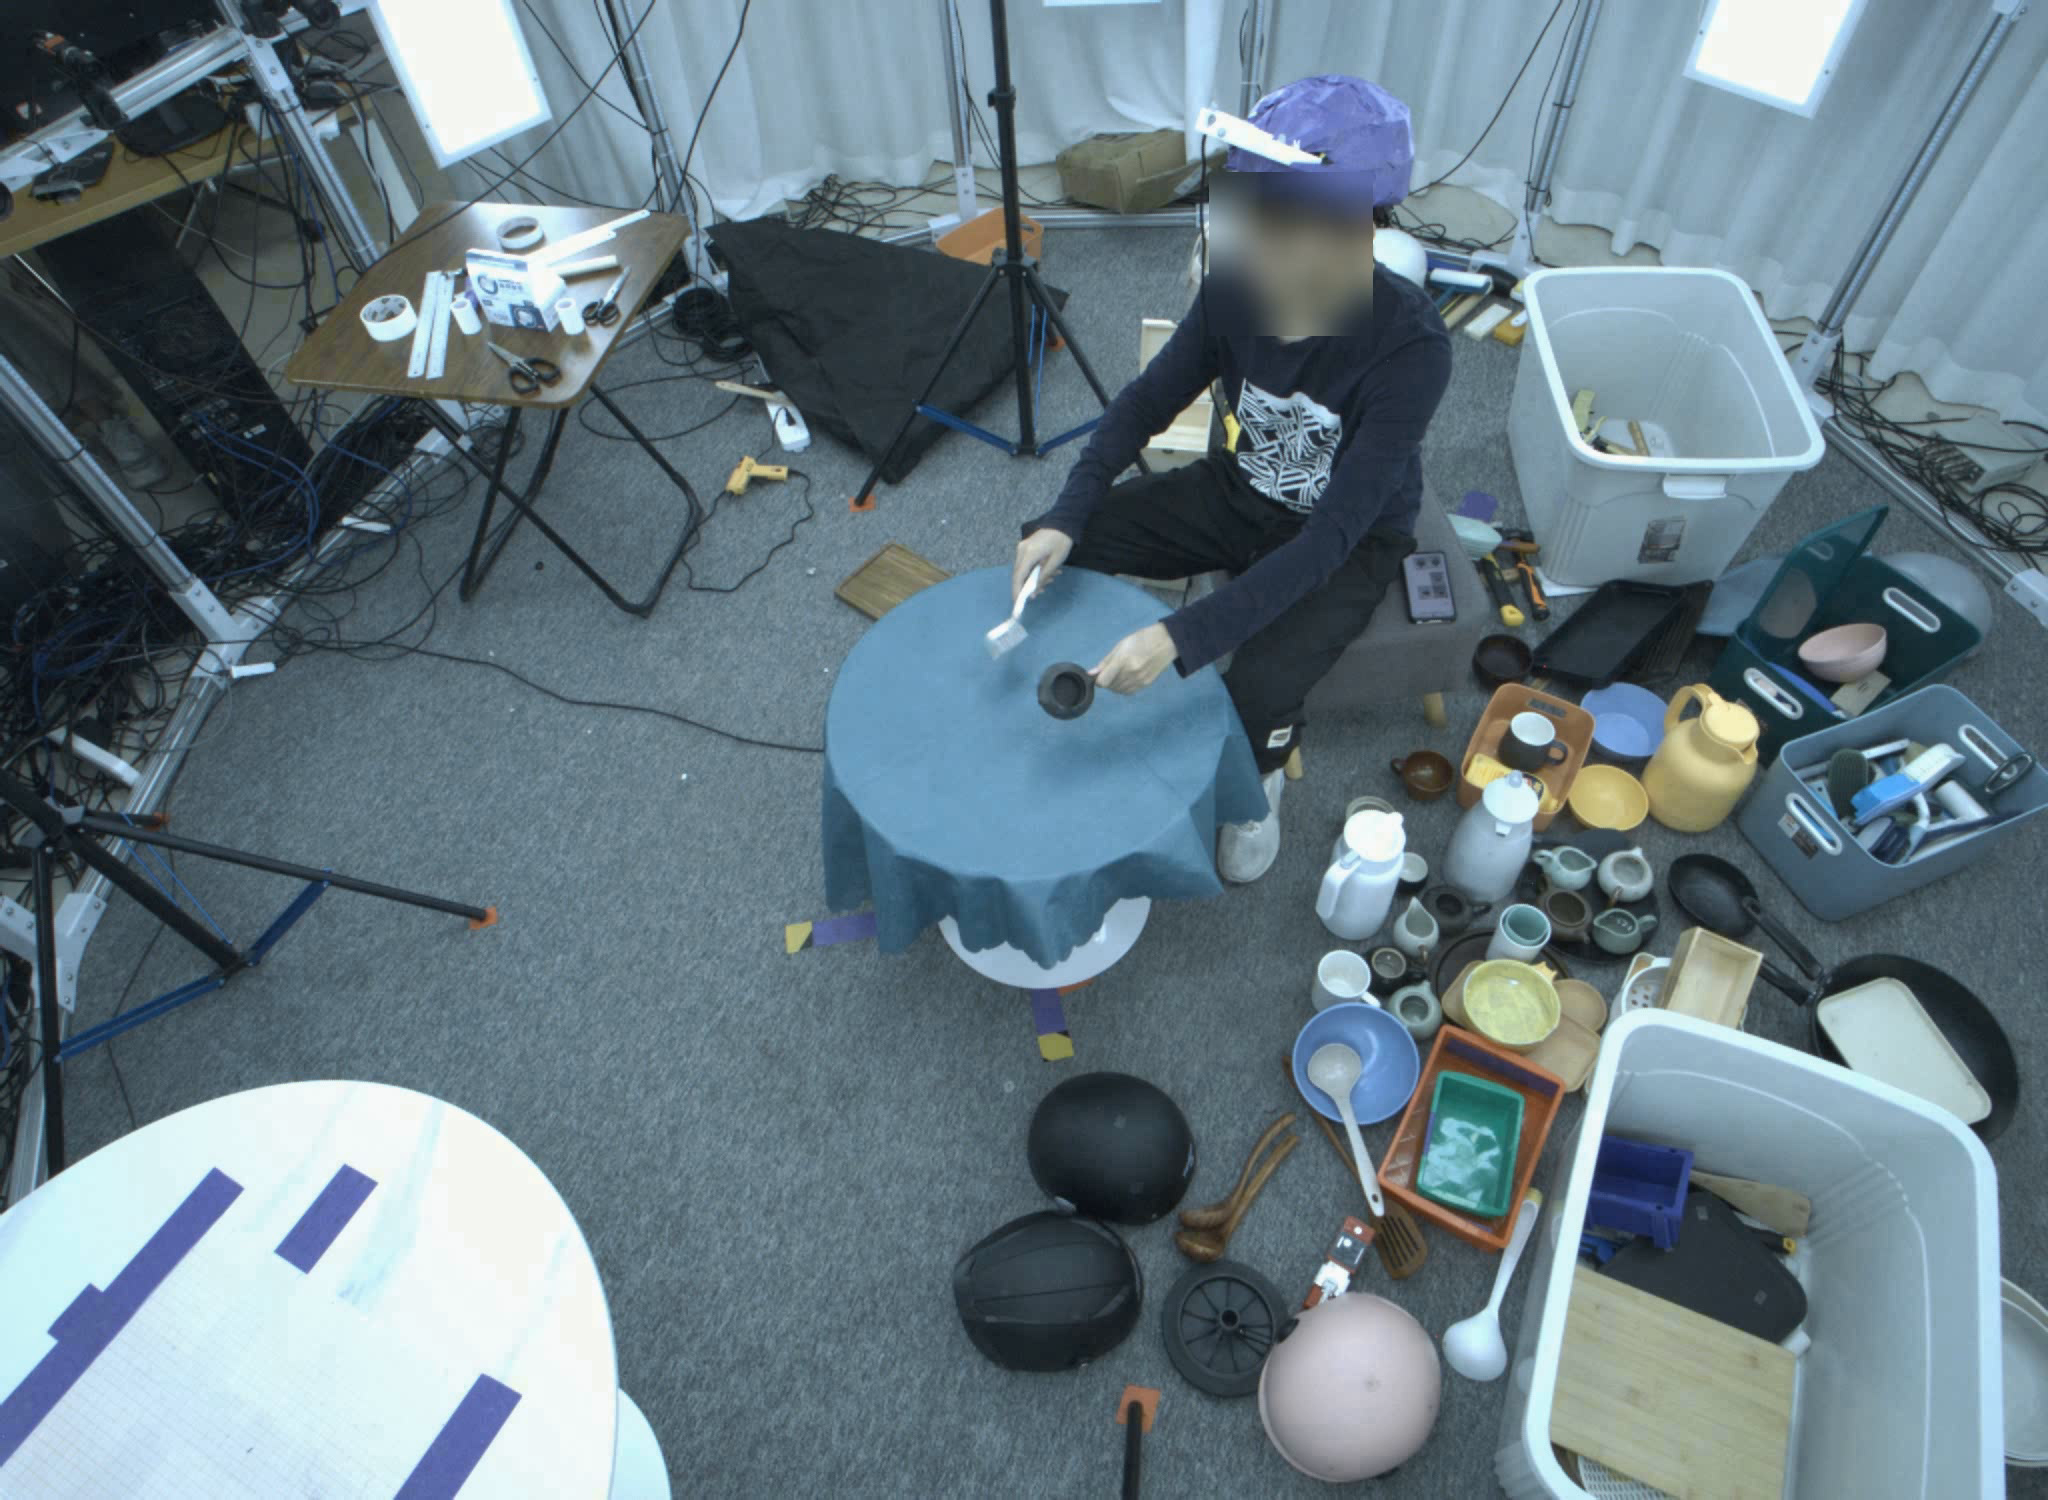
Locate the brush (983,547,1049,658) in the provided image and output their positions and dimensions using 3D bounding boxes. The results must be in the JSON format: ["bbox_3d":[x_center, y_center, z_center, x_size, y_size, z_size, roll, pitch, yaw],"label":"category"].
[{"bbox_3d":[0.004,-0.226,1.873,0.050,0.034,0.244,37,49,-9],"label":"brush"}]

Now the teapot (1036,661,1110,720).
[{"bbox_3d":[0.069,-0.089,1.726,0.114,0.052,0.083,-23,94,-9],"label":"teapot"}]
